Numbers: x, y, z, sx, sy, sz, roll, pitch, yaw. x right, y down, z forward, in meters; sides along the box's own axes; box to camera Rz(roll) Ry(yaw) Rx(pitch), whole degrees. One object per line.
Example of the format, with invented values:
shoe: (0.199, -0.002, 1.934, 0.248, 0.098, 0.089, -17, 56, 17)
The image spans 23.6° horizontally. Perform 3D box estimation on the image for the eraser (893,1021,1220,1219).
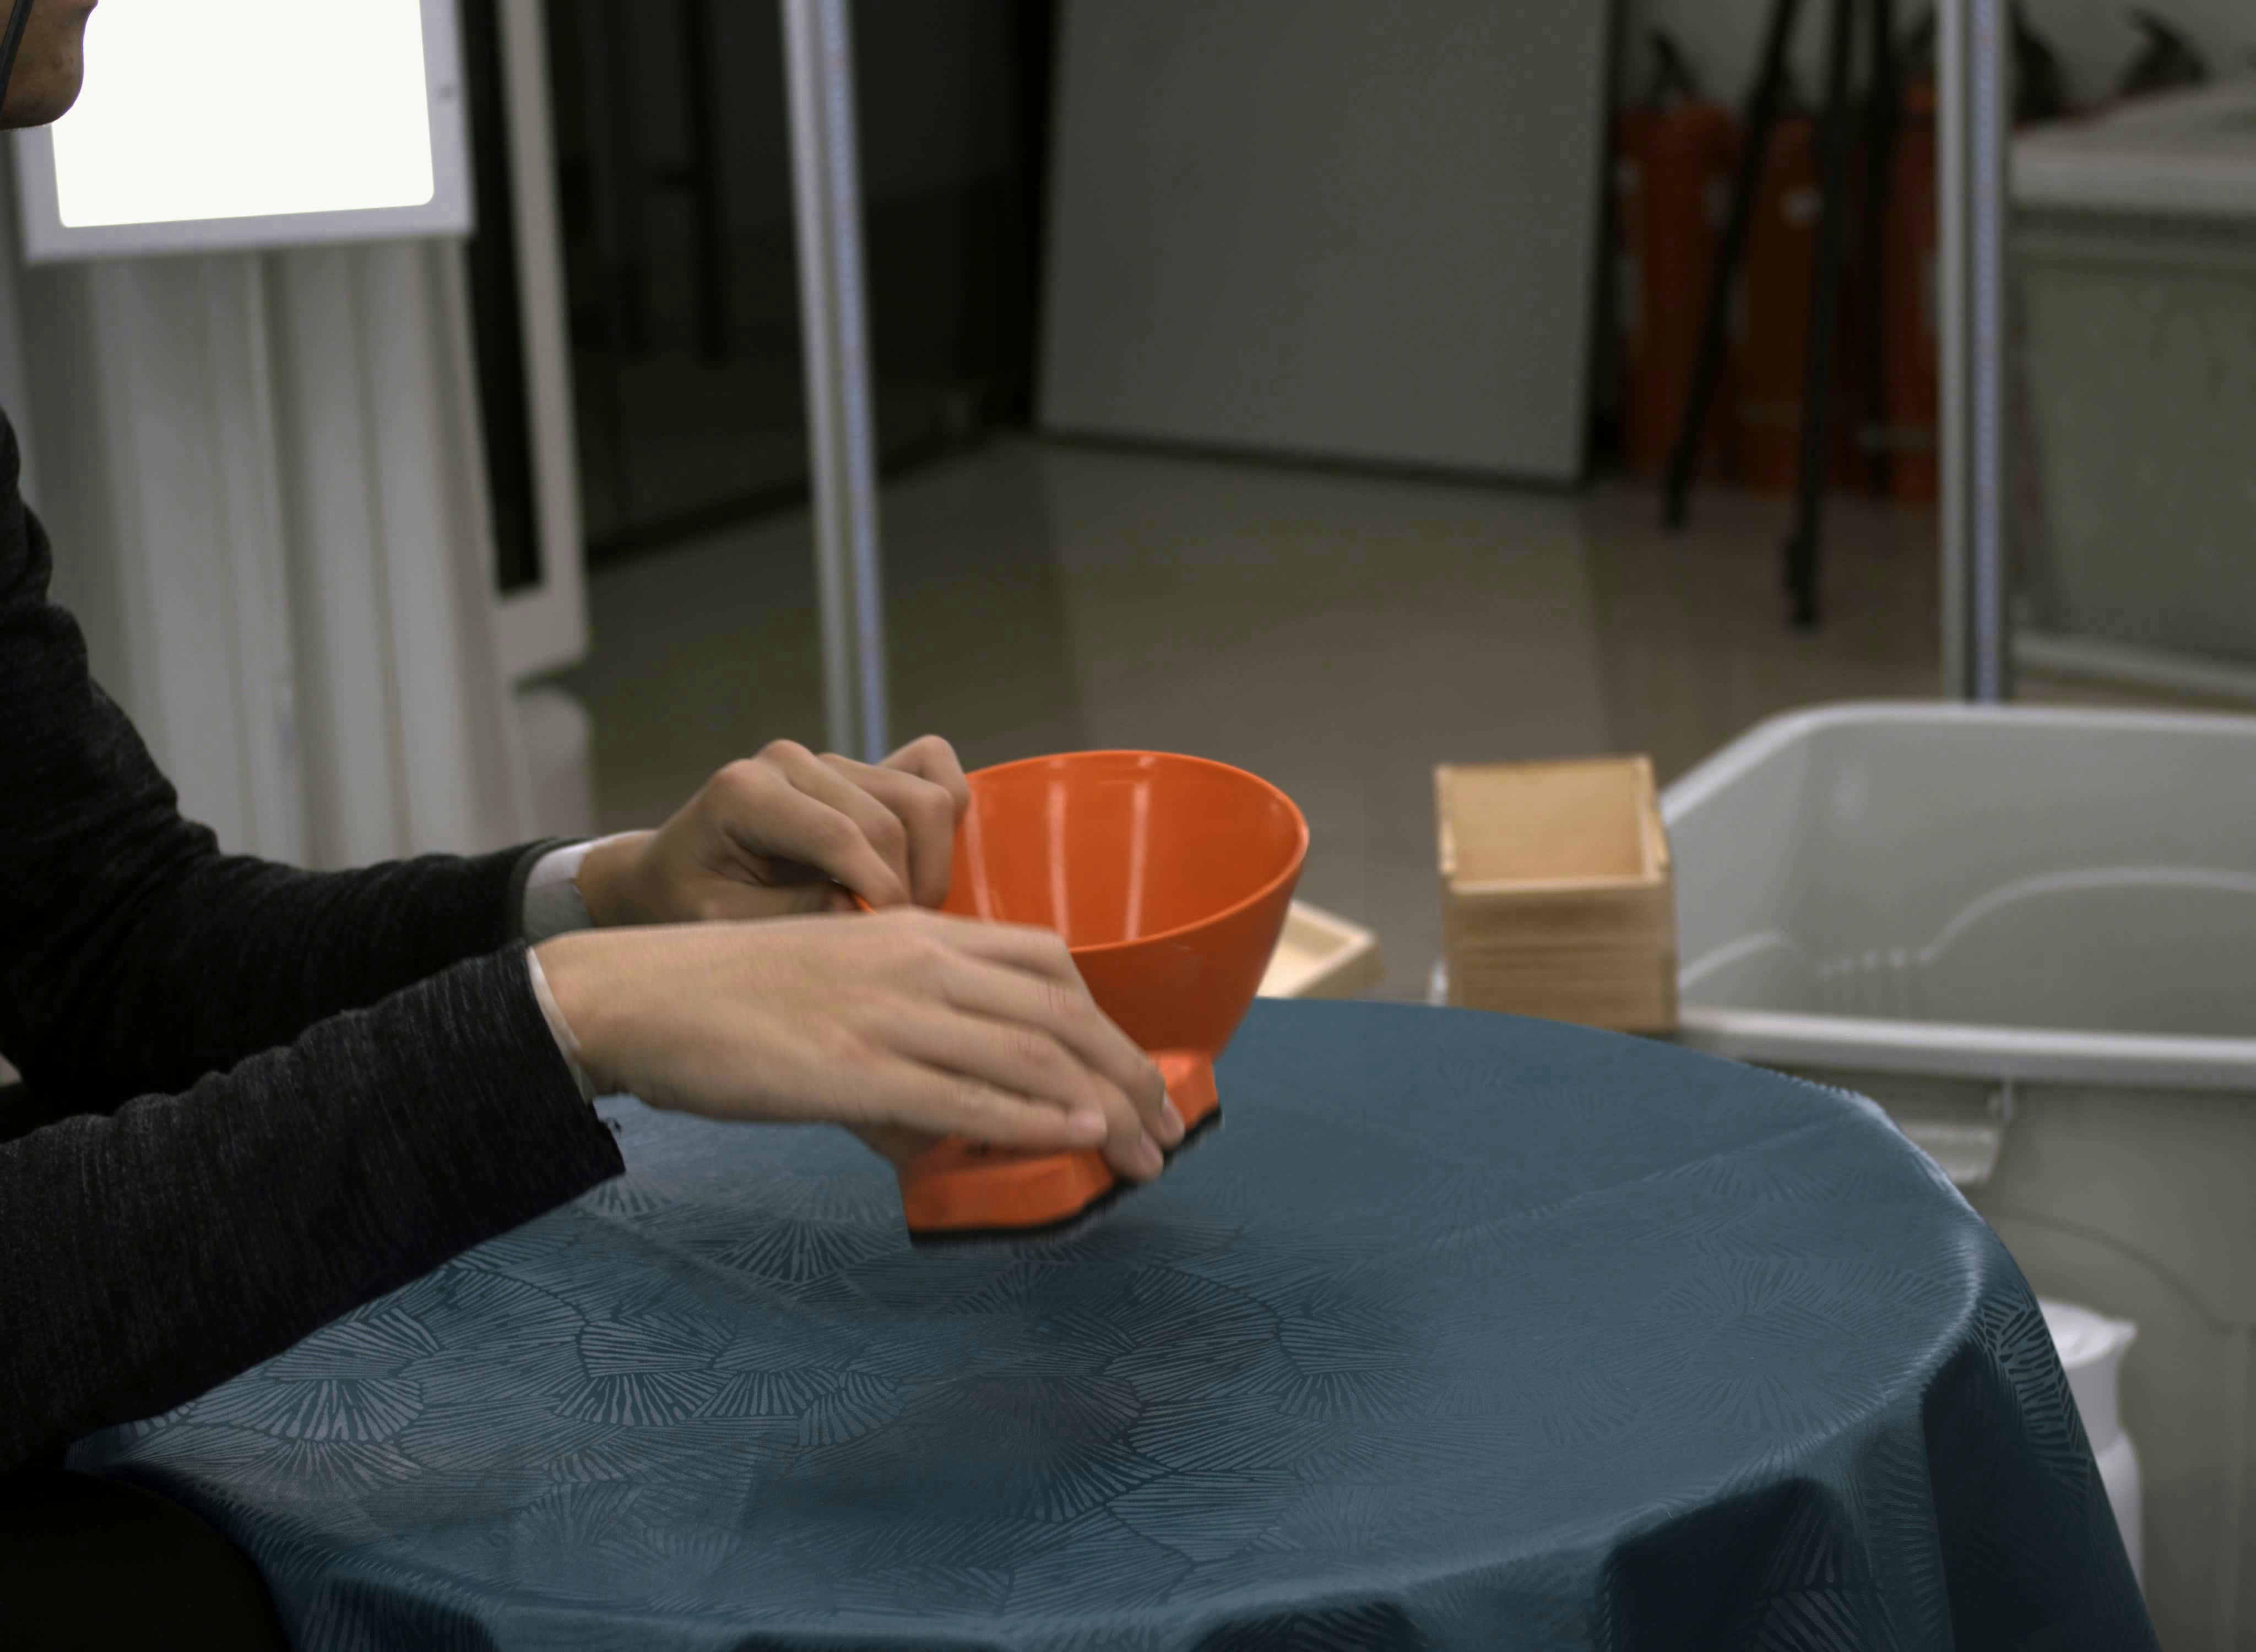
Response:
eraser: (-0.019, 0.084, 1.544, 0.059, 0.023, 0.106, -6, 13, 29)

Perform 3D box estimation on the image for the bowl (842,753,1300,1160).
bowl: (-0.017, 0.046, 1.718, 0.146, 0.106, 0.148, -2, 15, 0)
